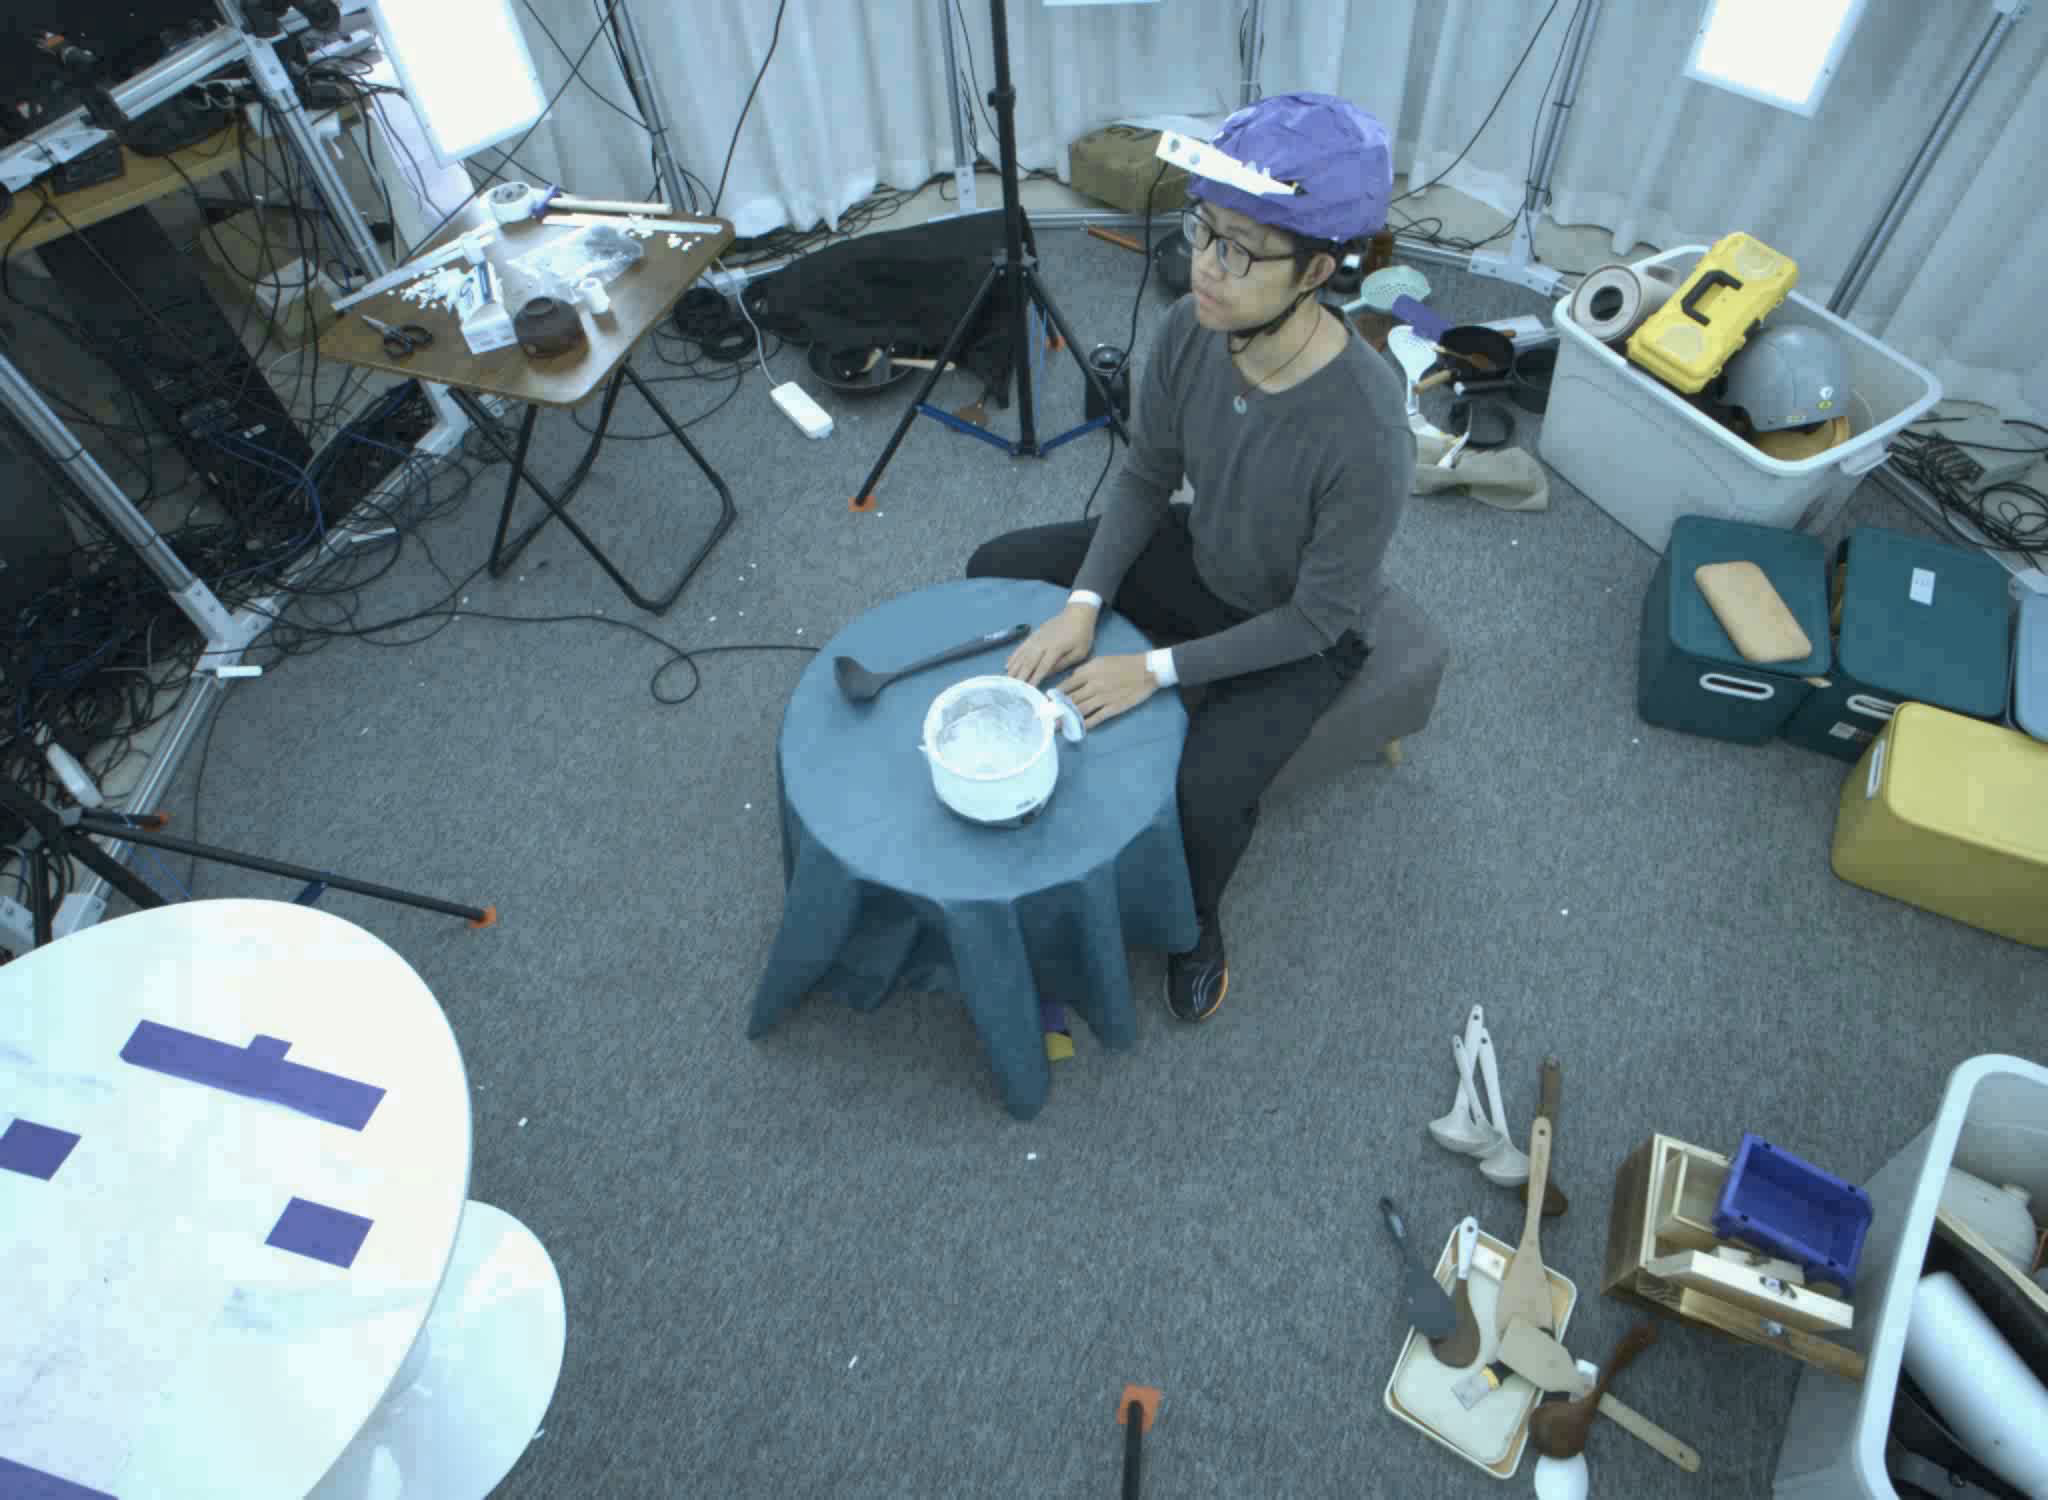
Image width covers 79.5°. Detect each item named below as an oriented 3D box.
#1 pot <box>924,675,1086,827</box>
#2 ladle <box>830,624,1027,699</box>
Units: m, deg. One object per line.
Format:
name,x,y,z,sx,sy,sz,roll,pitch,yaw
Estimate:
pot,-0.019,-0.008,1.716,0.235,0.138,0.175,-28,58,-17
ladle,-0.142,-0.152,1.868,0.316,0.064,0.085,-20,61,-13
